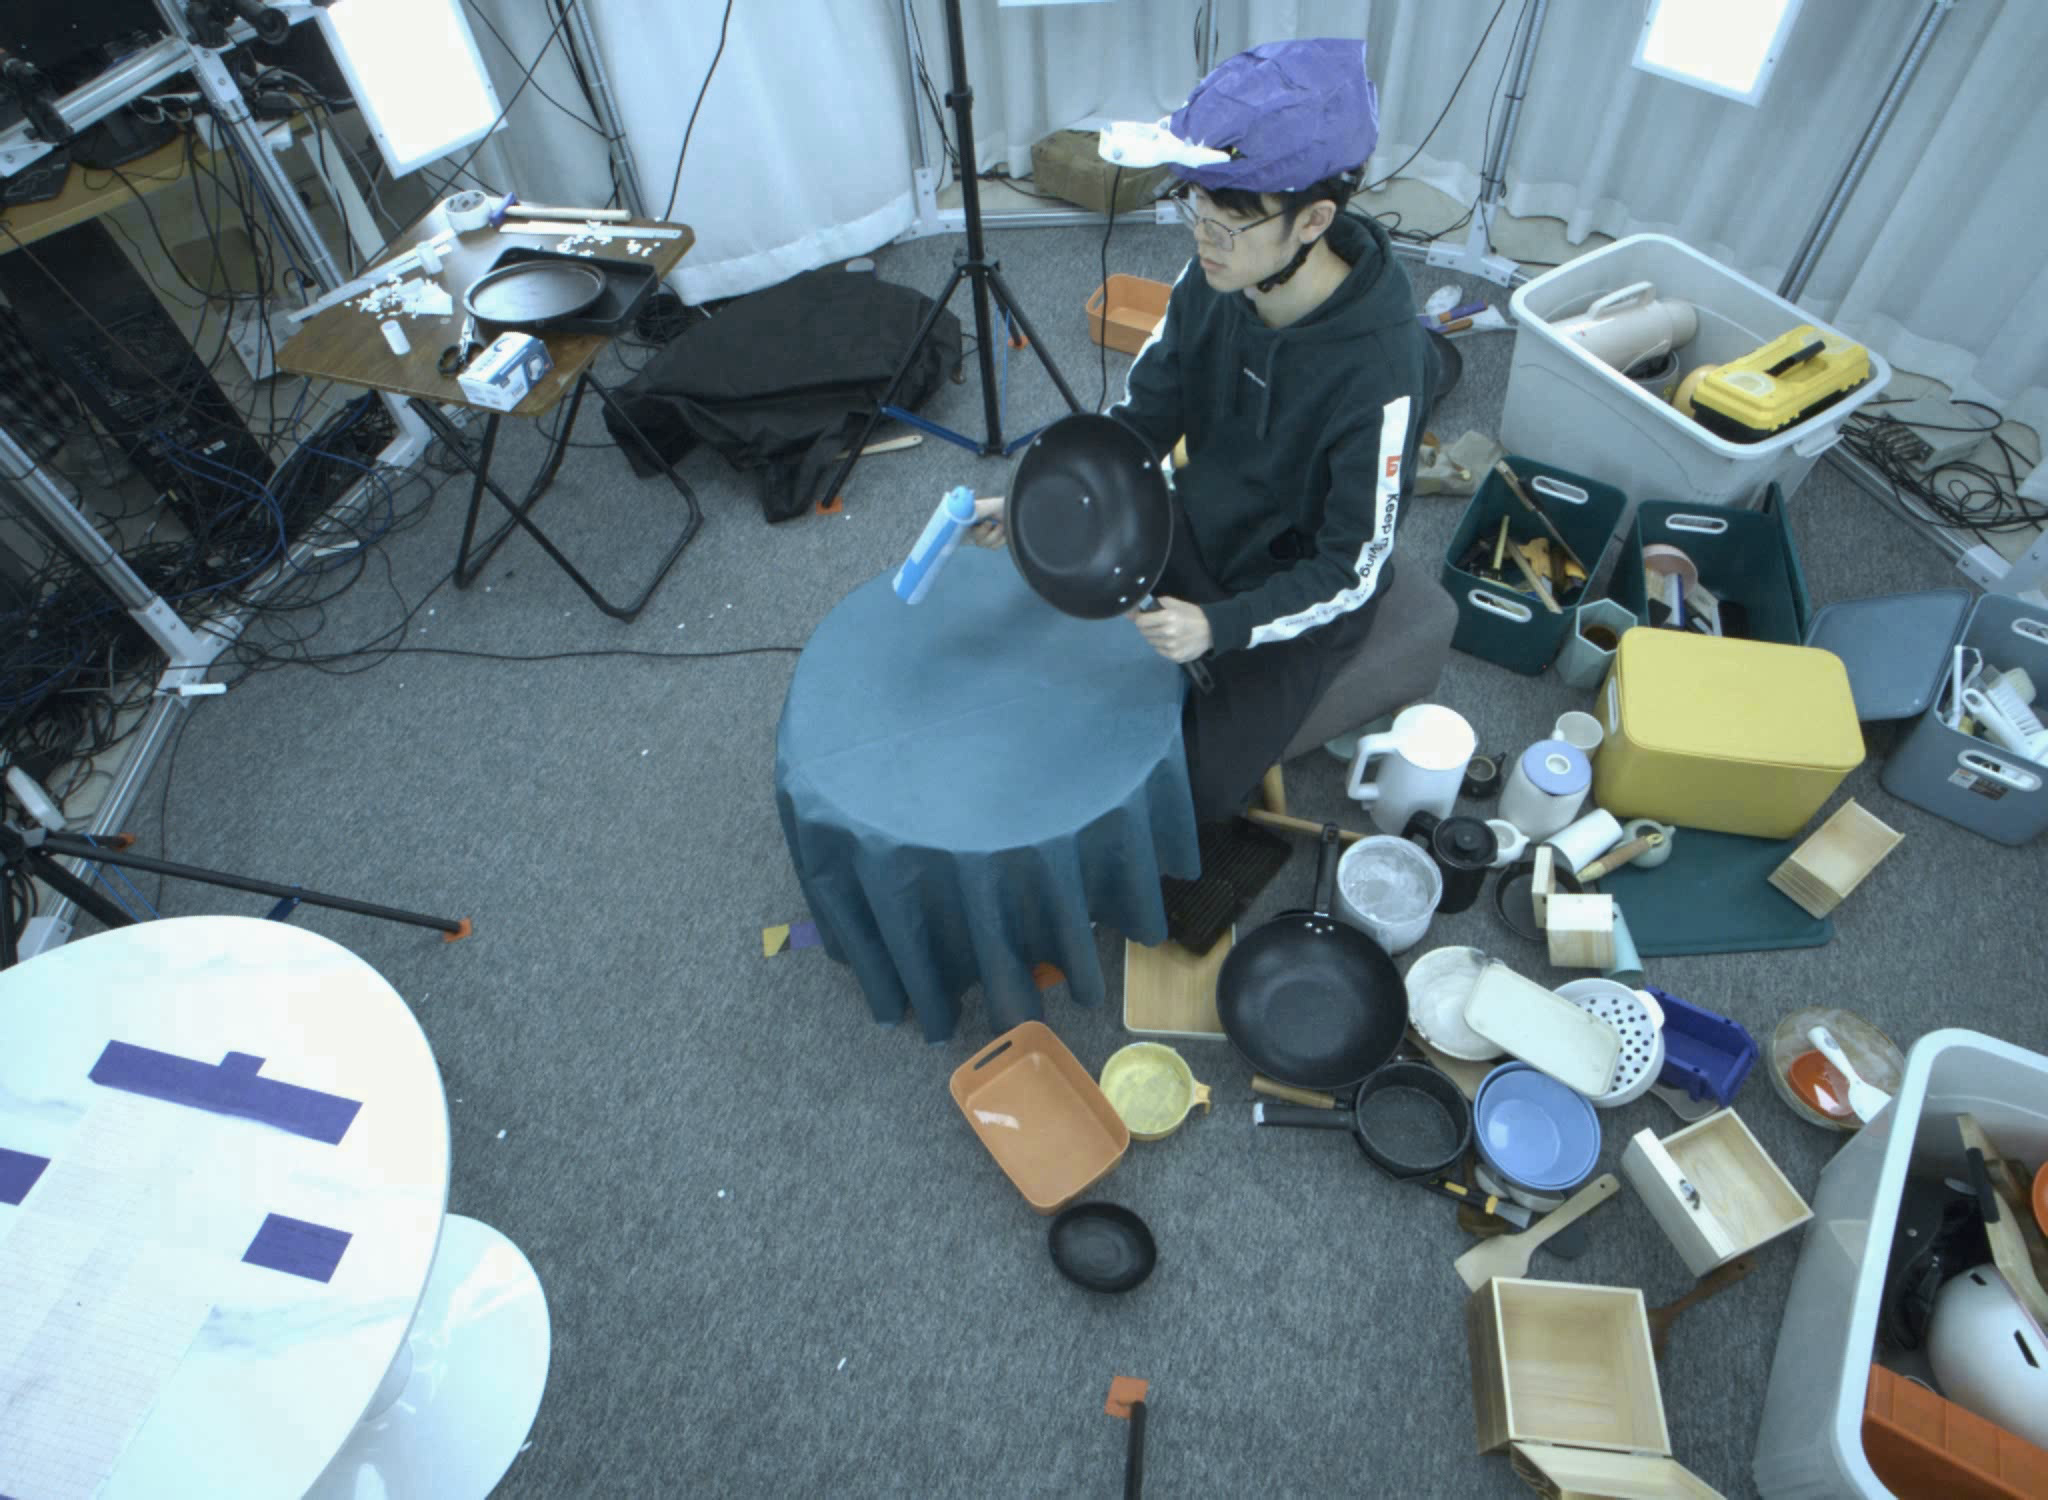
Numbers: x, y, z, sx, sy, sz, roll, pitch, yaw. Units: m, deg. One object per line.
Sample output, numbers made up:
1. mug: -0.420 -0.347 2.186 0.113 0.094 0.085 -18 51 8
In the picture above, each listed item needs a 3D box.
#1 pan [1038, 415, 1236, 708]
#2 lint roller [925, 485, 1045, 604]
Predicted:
1. pan: 0.170 -0.248 1.716 0.289 0.471 0.085 -46 29 -20
2. lint roller: -0.044 -0.307 1.785 0.183 0.227 0.067 -29 76 -44
